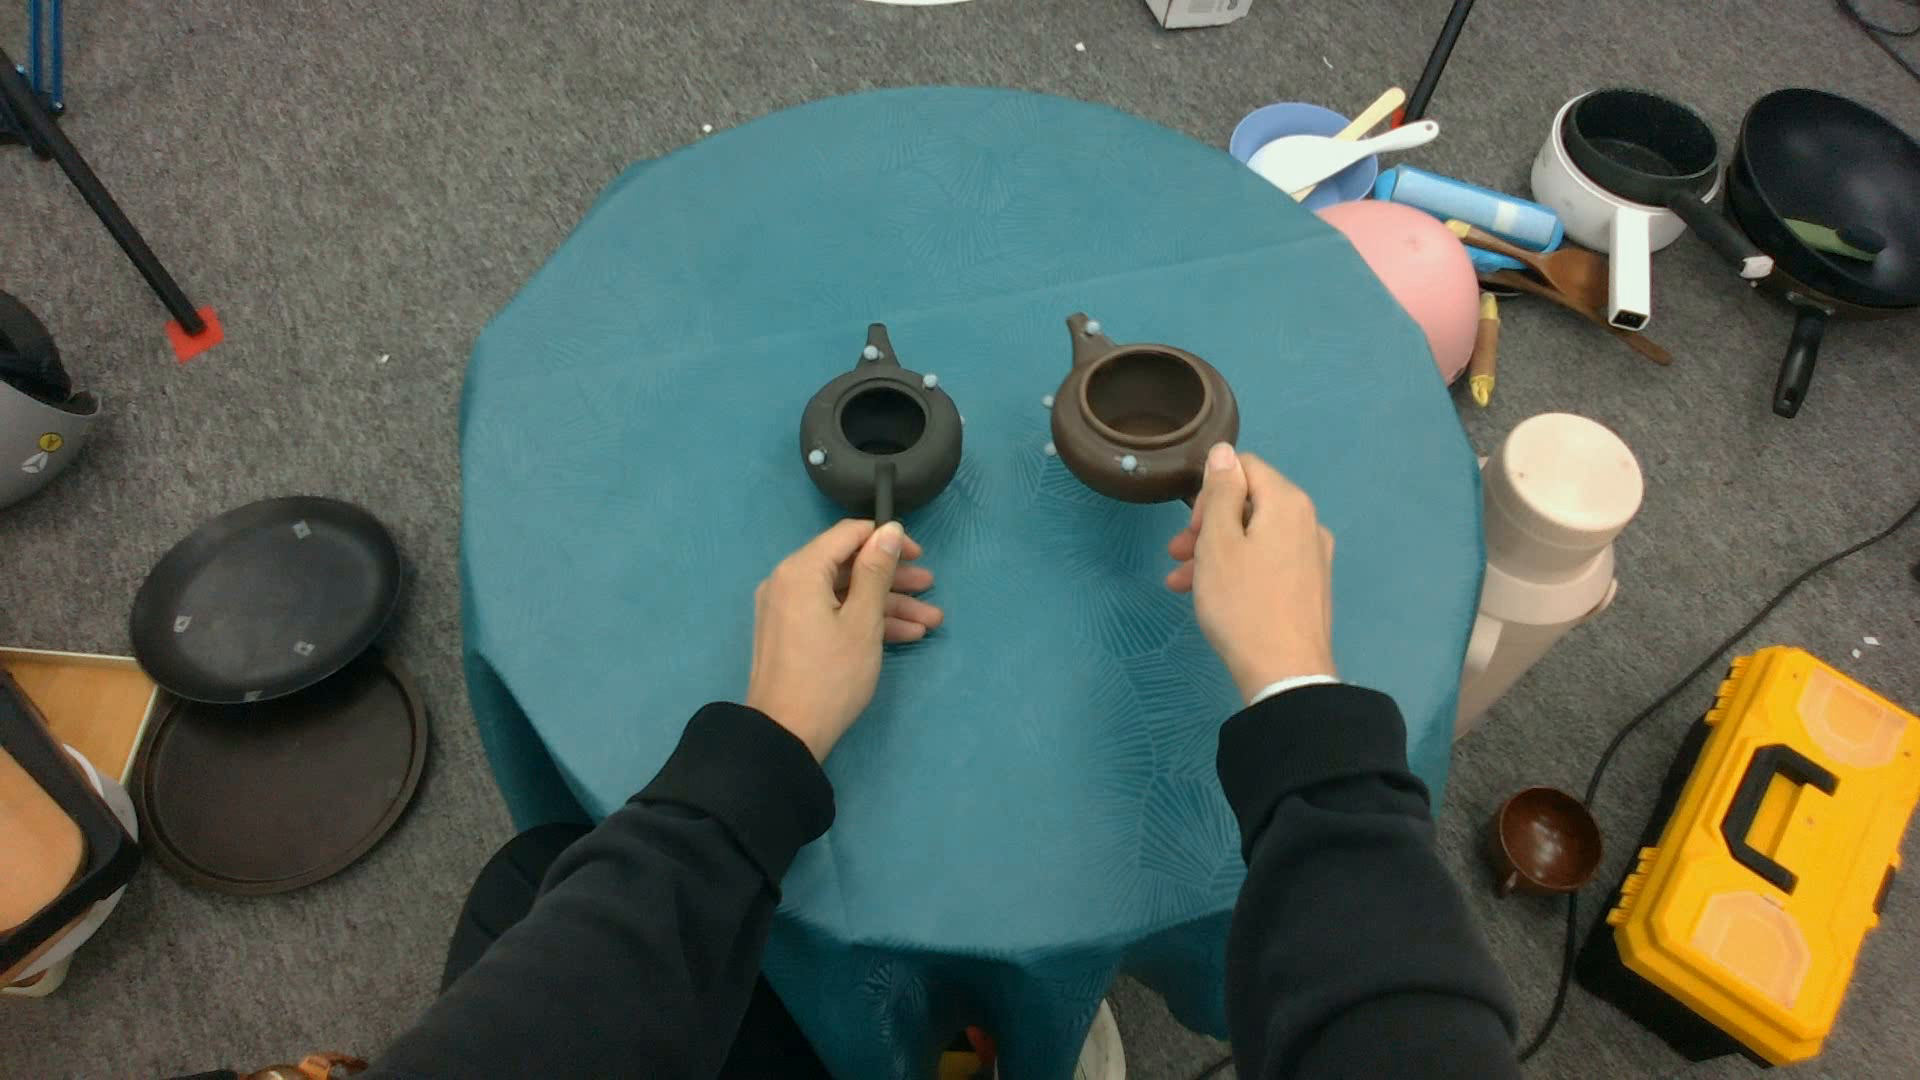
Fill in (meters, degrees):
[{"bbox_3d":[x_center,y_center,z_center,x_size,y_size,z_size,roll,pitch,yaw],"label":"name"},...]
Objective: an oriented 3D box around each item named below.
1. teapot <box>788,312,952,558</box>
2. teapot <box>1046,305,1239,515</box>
[{"bbox_3d":[-0.050,-0.058,0.774,0.092,0.064,0.155,-2,58,-4],"label":"teapot"},{"bbox_3d":[0.100,-0.068,0.749,0.103,0.053,0.154,-32,55,-15],"label":"teapot"}]
